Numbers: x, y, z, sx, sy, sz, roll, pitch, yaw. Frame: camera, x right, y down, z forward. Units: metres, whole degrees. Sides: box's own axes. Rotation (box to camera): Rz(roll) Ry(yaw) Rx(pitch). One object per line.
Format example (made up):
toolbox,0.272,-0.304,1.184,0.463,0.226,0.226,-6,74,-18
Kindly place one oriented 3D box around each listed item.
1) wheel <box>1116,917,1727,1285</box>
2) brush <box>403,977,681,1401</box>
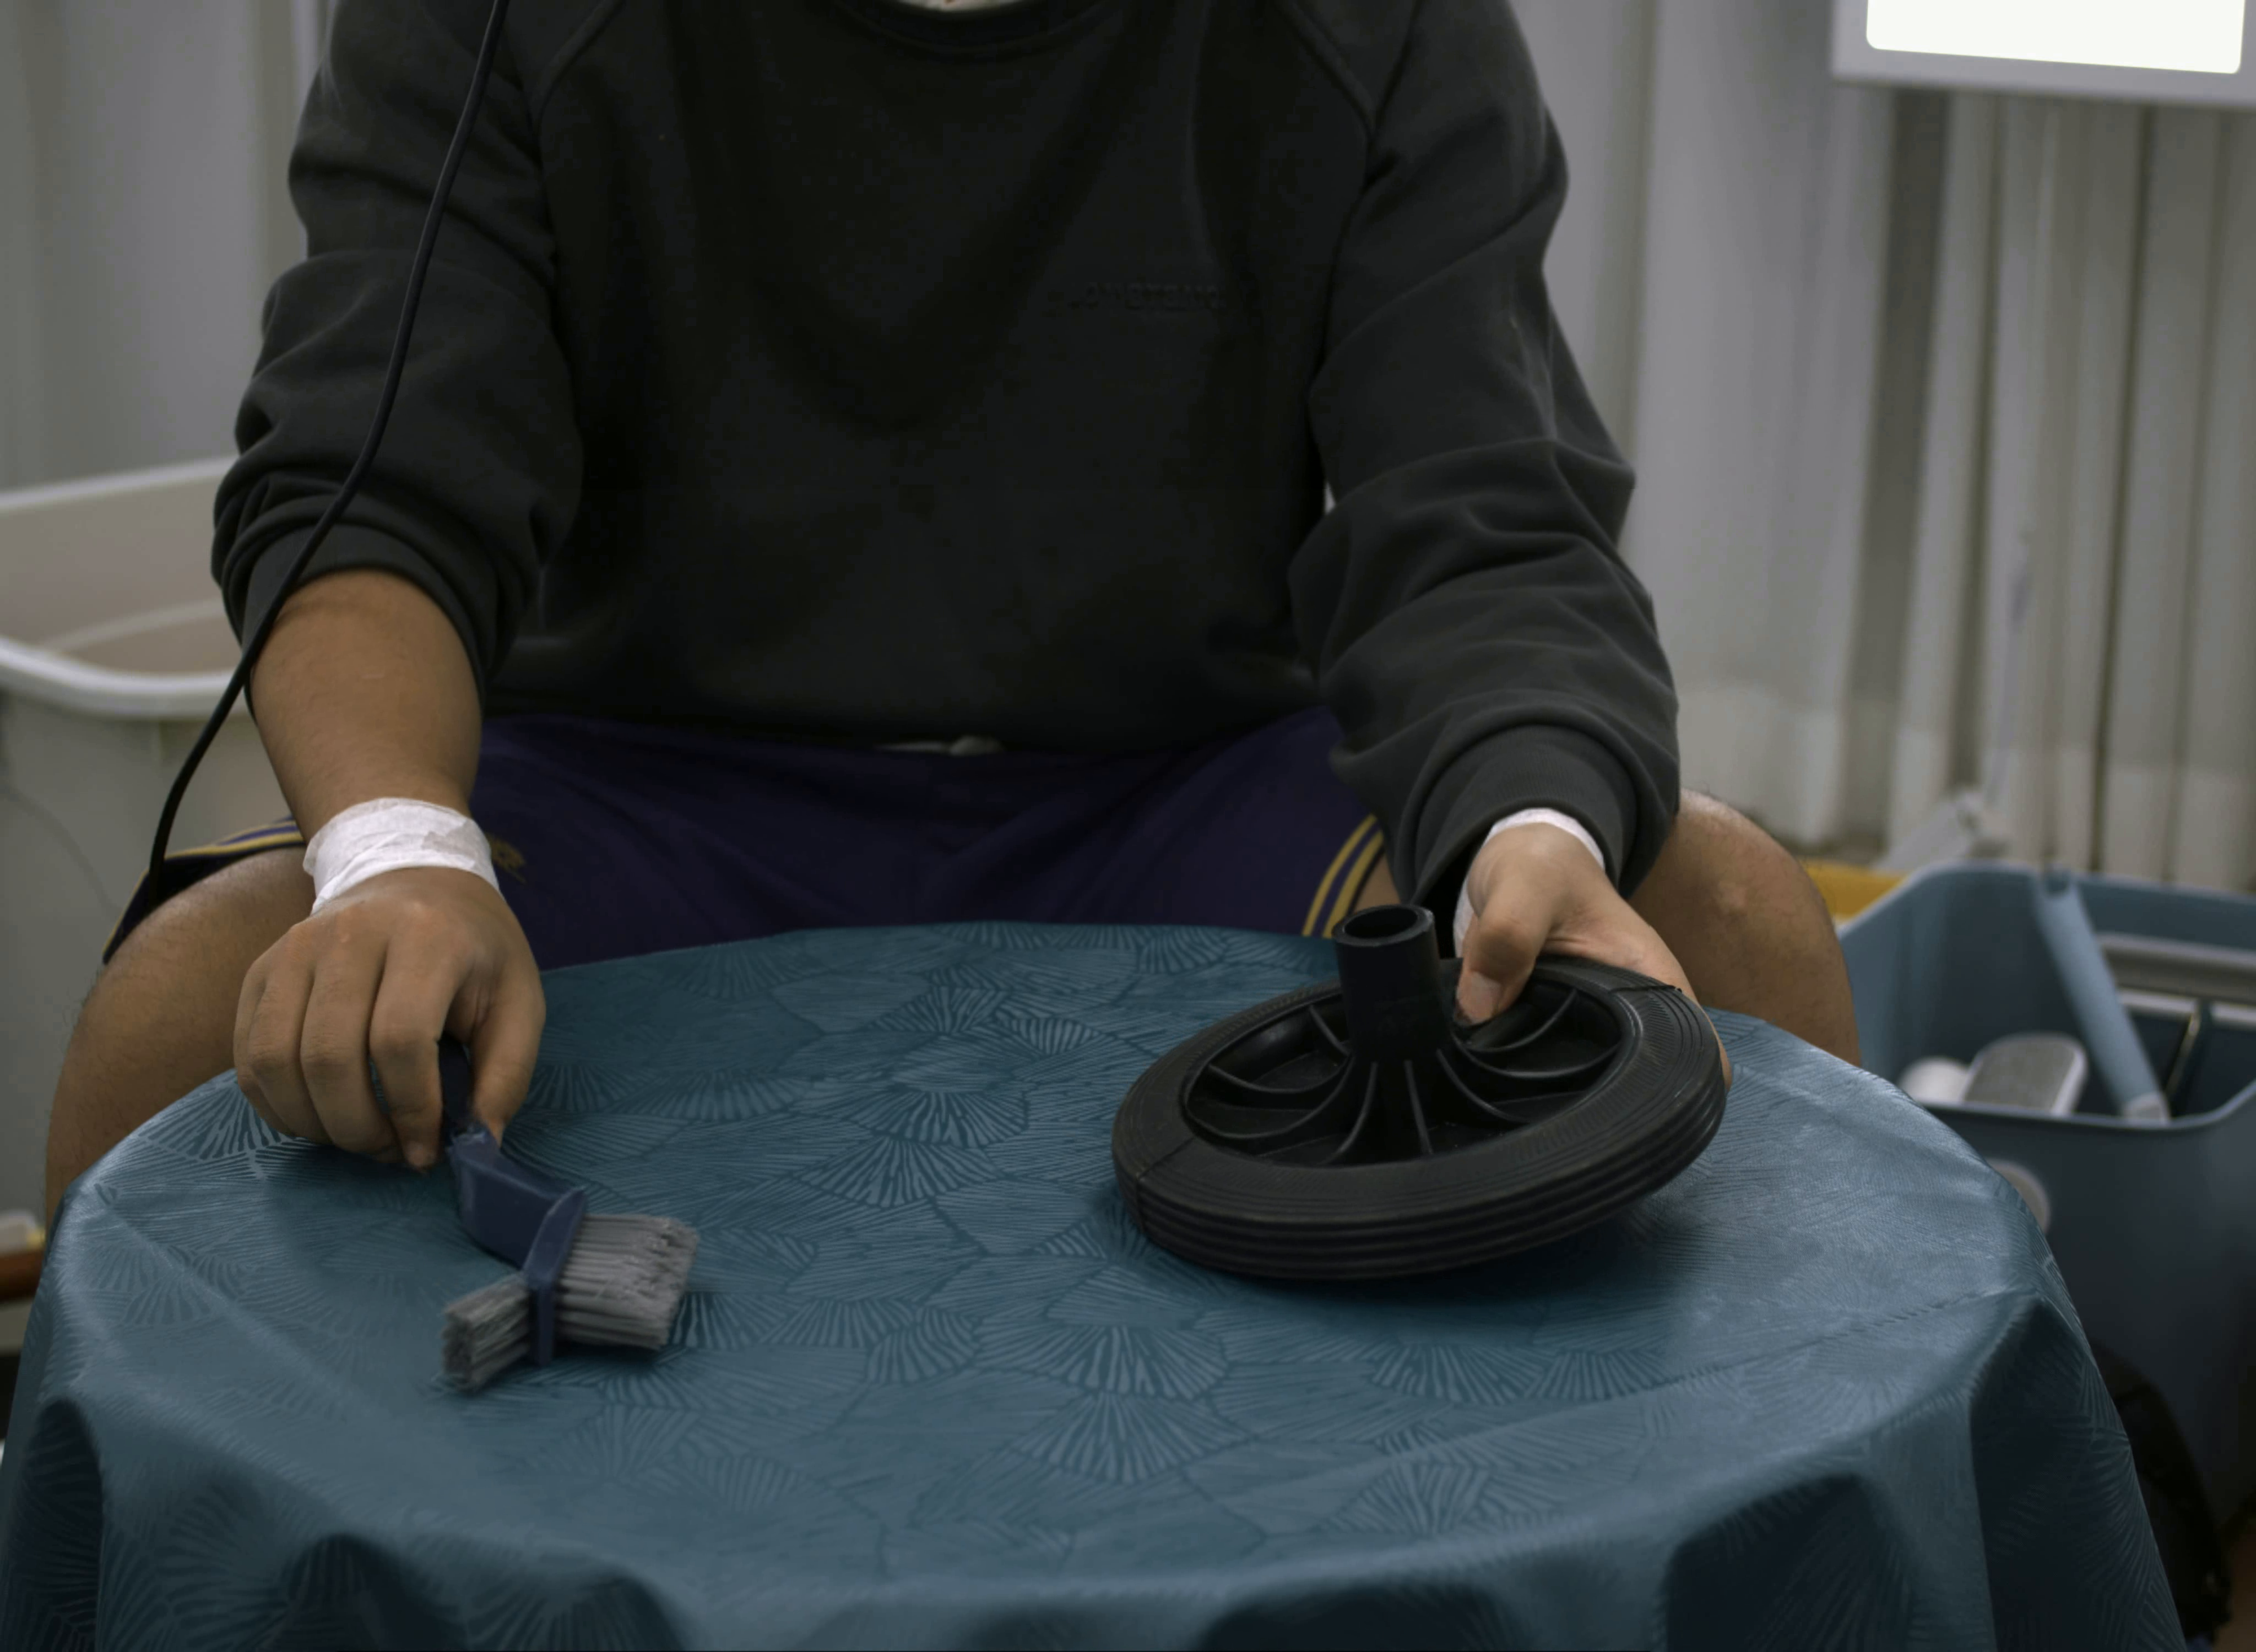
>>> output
wheel,0.085,0.069,1.598,0.186,0.080,0.189,-6,21,14
brush,-0.201,0.105,1.583,0.096,0.034,0.270,-6,18,-21
